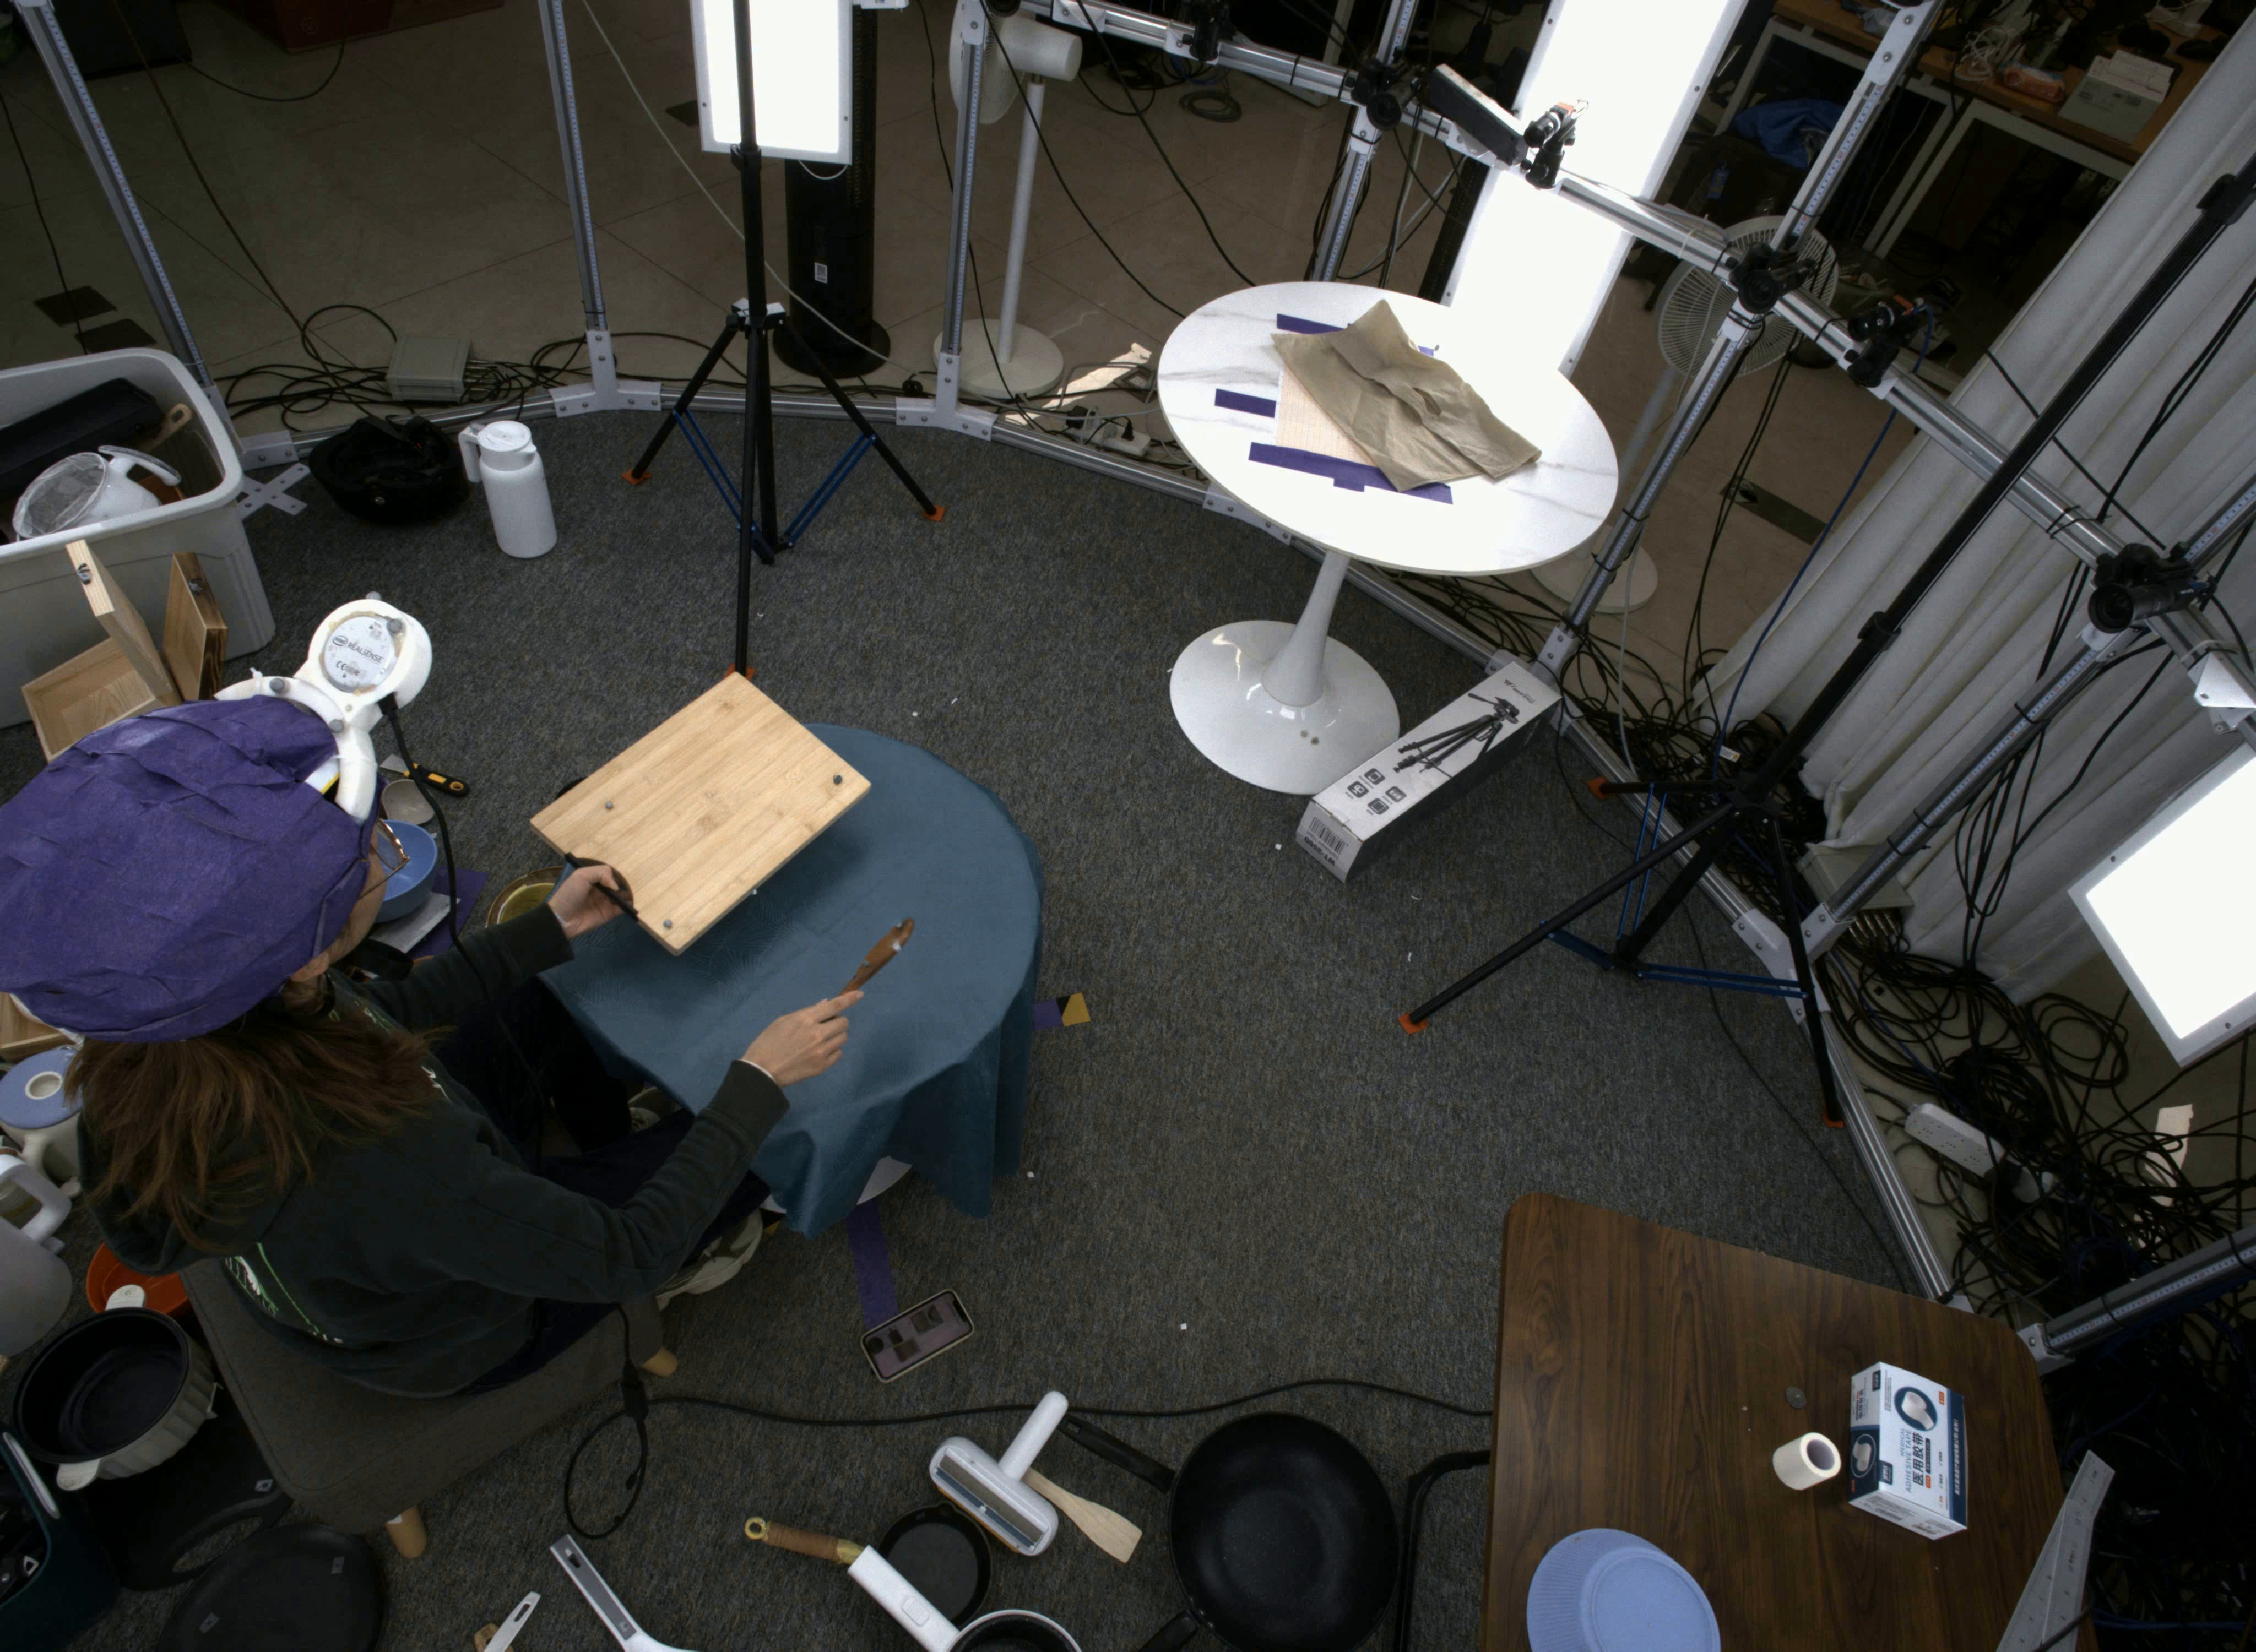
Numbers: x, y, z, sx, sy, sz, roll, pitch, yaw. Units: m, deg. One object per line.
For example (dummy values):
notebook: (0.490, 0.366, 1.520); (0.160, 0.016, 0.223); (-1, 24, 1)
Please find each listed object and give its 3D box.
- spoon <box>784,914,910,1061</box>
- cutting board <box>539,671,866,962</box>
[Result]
spoon: (-0.313, 0.177, 1.460); (0.017, 0.074, 0.215); (48, 56, -14)
cutting board: (-0.524, -0.023, 1.586); (0.249, 0.024, 0.348); (39, 53, 3)
